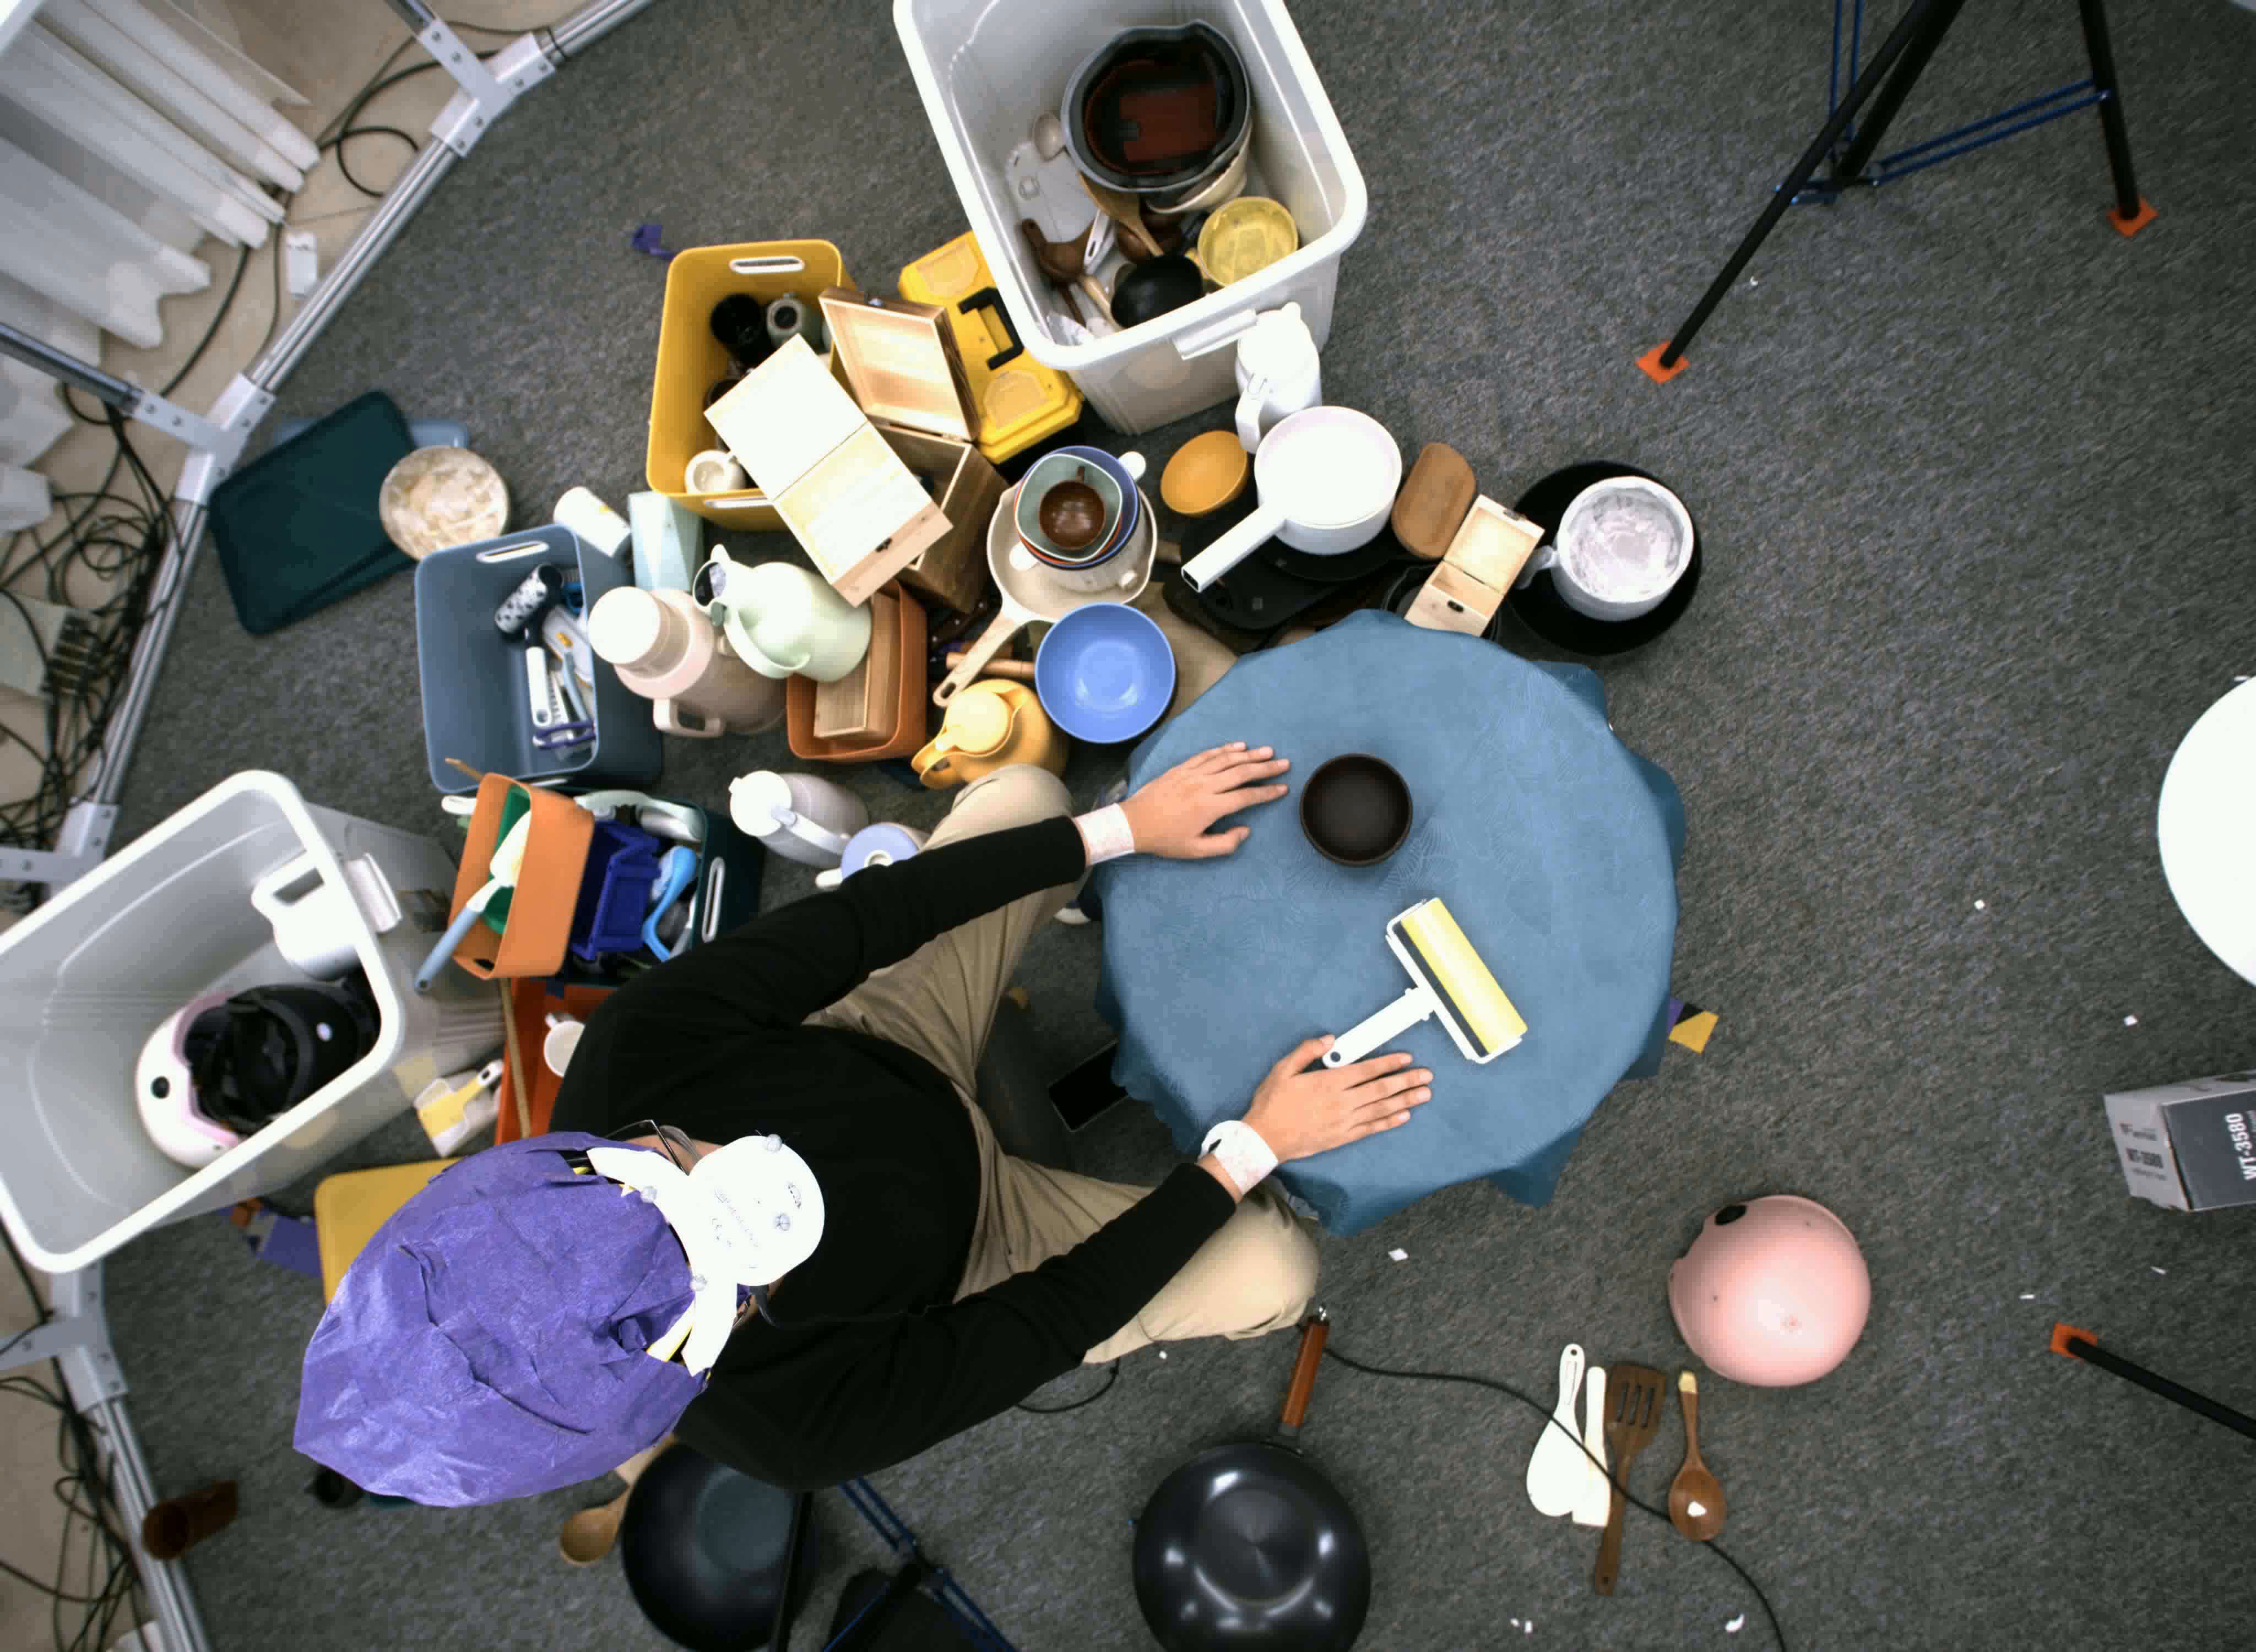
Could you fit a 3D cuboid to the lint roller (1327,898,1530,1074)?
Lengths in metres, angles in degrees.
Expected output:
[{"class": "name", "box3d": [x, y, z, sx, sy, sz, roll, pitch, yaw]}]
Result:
[{"class": "lint roller", "box3d": [0.287, 0.193, 1.424, 0.192, 0.051, 0.173, -35, 81, 2]}]

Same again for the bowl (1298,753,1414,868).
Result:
[{"class": "bowl", "box3d": [0.236, -0.014, 1.433, 0.118, 0.070, 0.117, -1, 85, 10]}]
